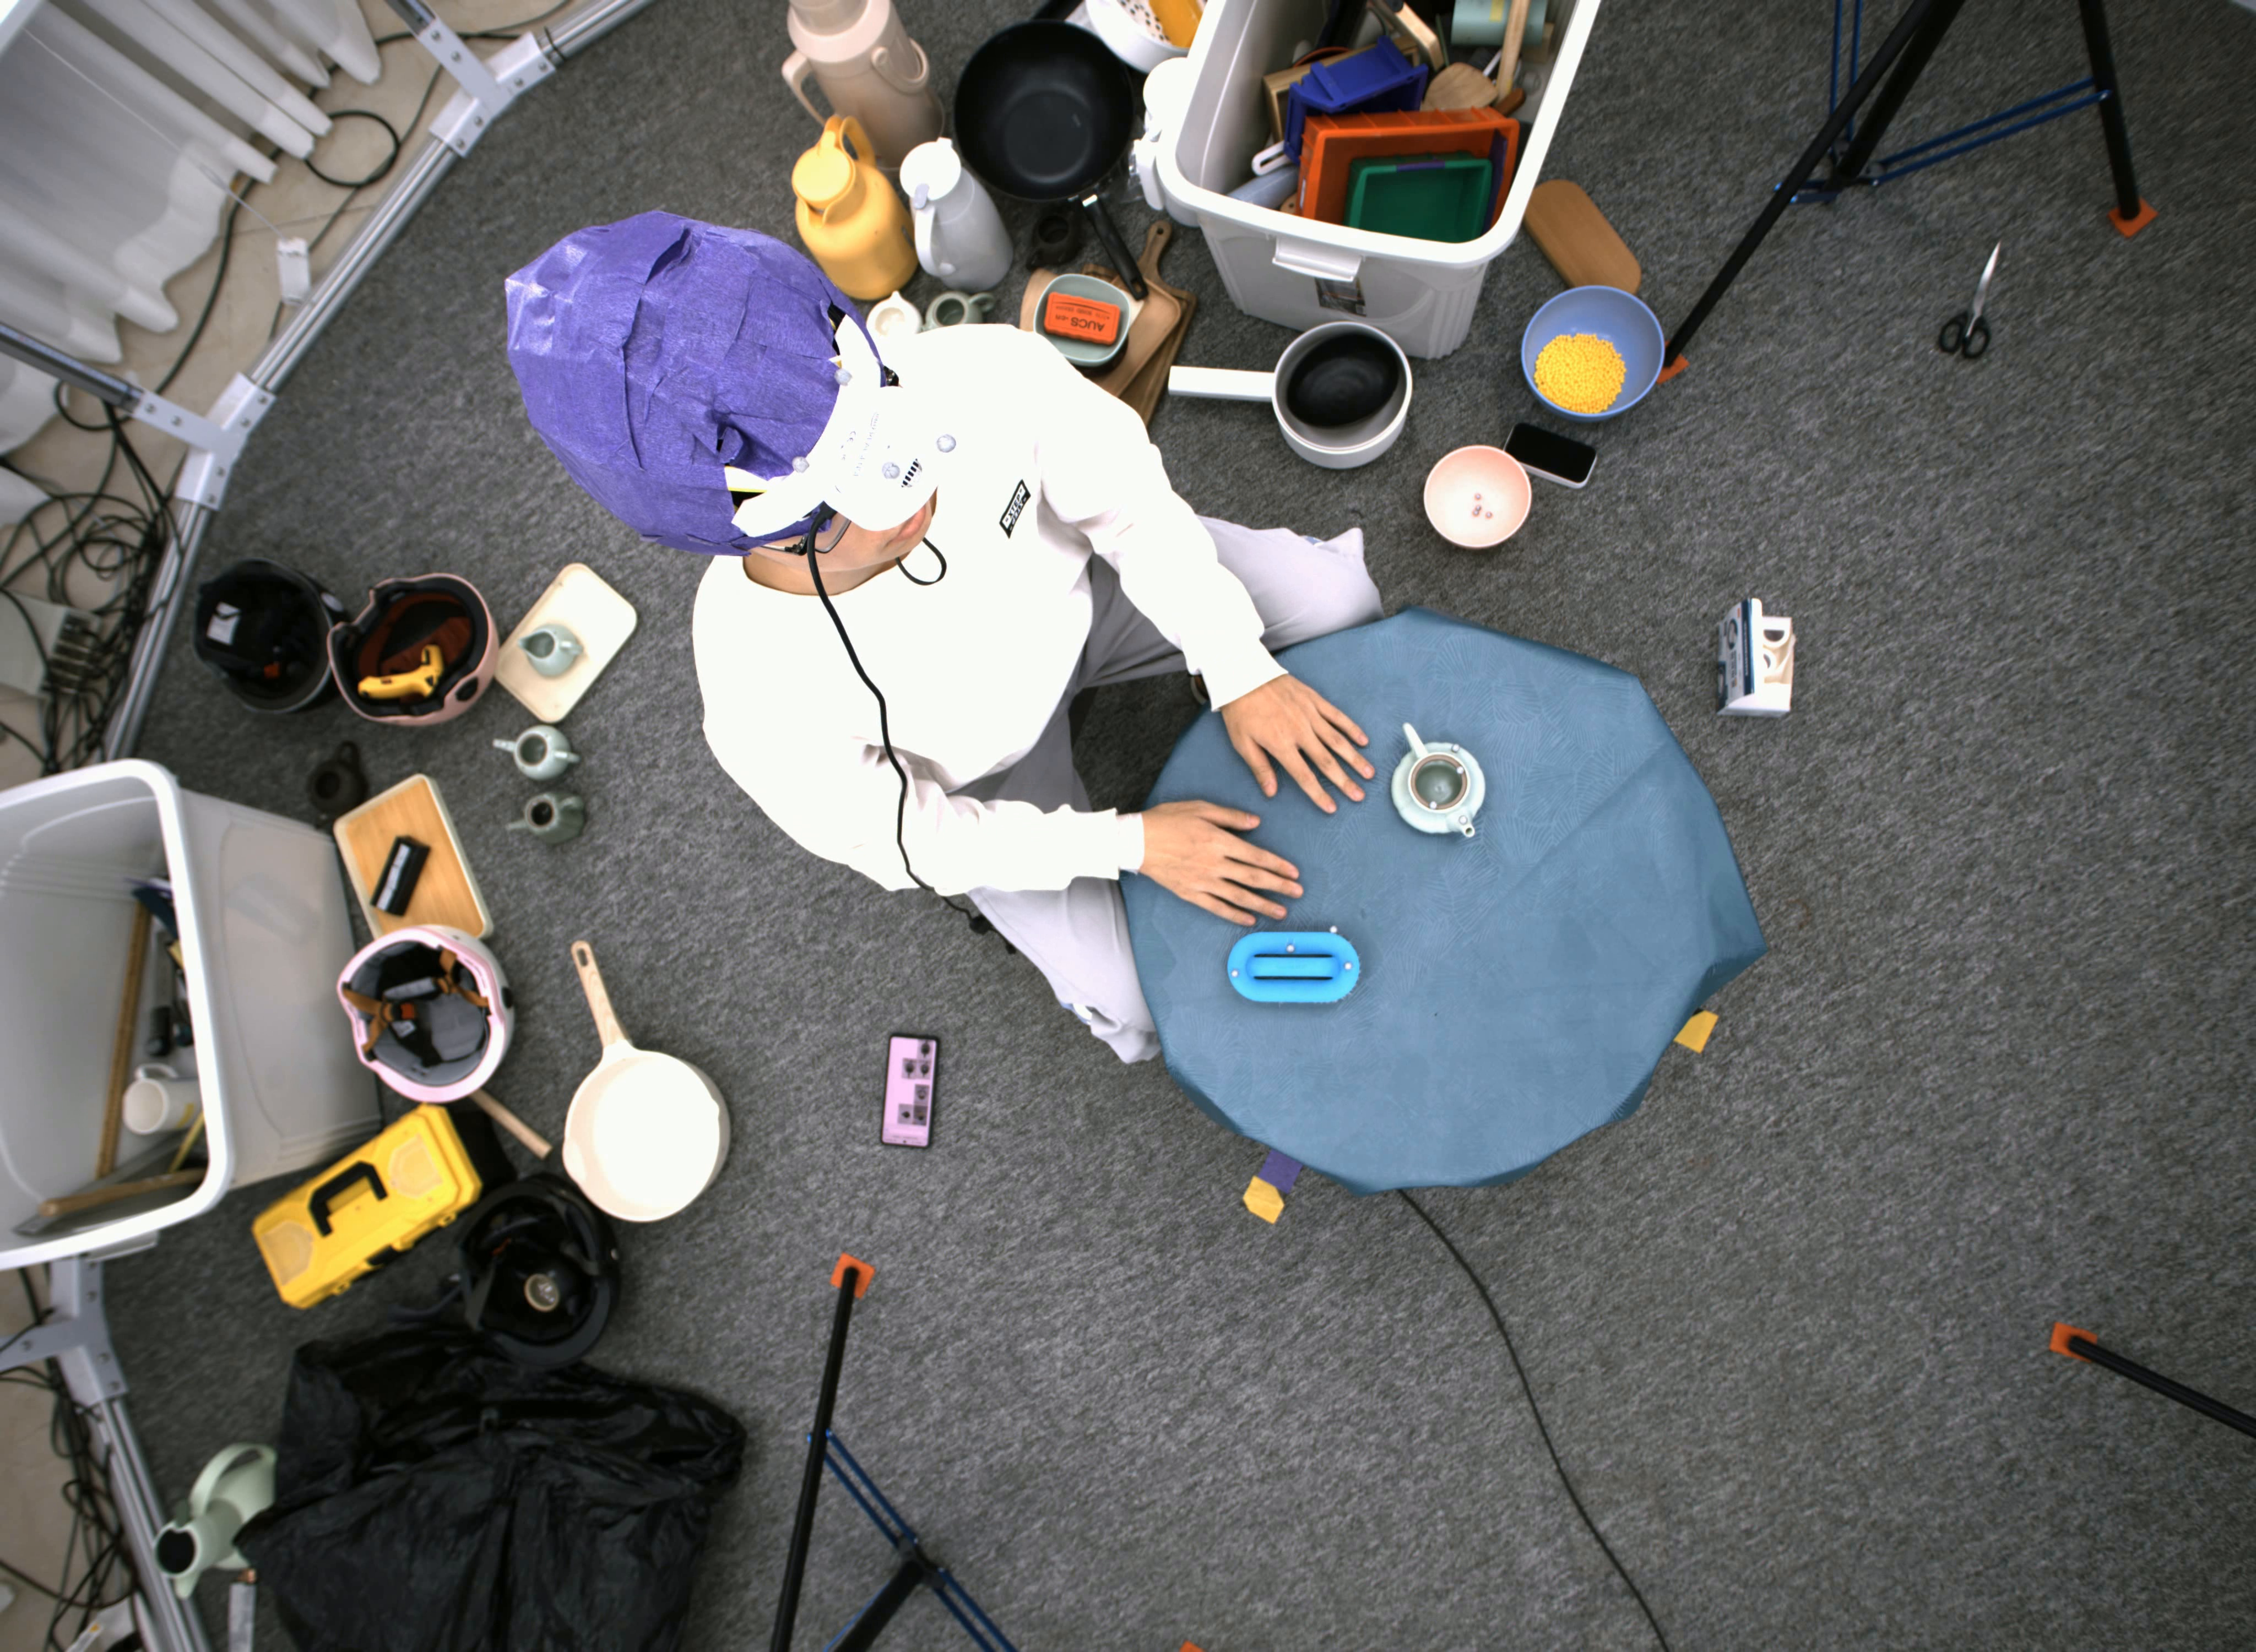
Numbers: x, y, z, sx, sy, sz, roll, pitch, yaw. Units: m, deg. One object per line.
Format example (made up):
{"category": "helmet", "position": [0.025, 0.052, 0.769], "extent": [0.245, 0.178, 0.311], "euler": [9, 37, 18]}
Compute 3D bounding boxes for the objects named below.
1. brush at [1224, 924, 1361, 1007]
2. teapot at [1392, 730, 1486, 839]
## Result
{"category": "brush", "position": [0.170, 0.145, 1.441], "extent": [0.142, 0.063, 0.084], "euler": [1, 91, 11]}
{"category": "teapot", "position": [0.320, -0.043, 1.426], "extent": [0.097, 0.061, 0.136], "euler": [-33, 79, 11]}
